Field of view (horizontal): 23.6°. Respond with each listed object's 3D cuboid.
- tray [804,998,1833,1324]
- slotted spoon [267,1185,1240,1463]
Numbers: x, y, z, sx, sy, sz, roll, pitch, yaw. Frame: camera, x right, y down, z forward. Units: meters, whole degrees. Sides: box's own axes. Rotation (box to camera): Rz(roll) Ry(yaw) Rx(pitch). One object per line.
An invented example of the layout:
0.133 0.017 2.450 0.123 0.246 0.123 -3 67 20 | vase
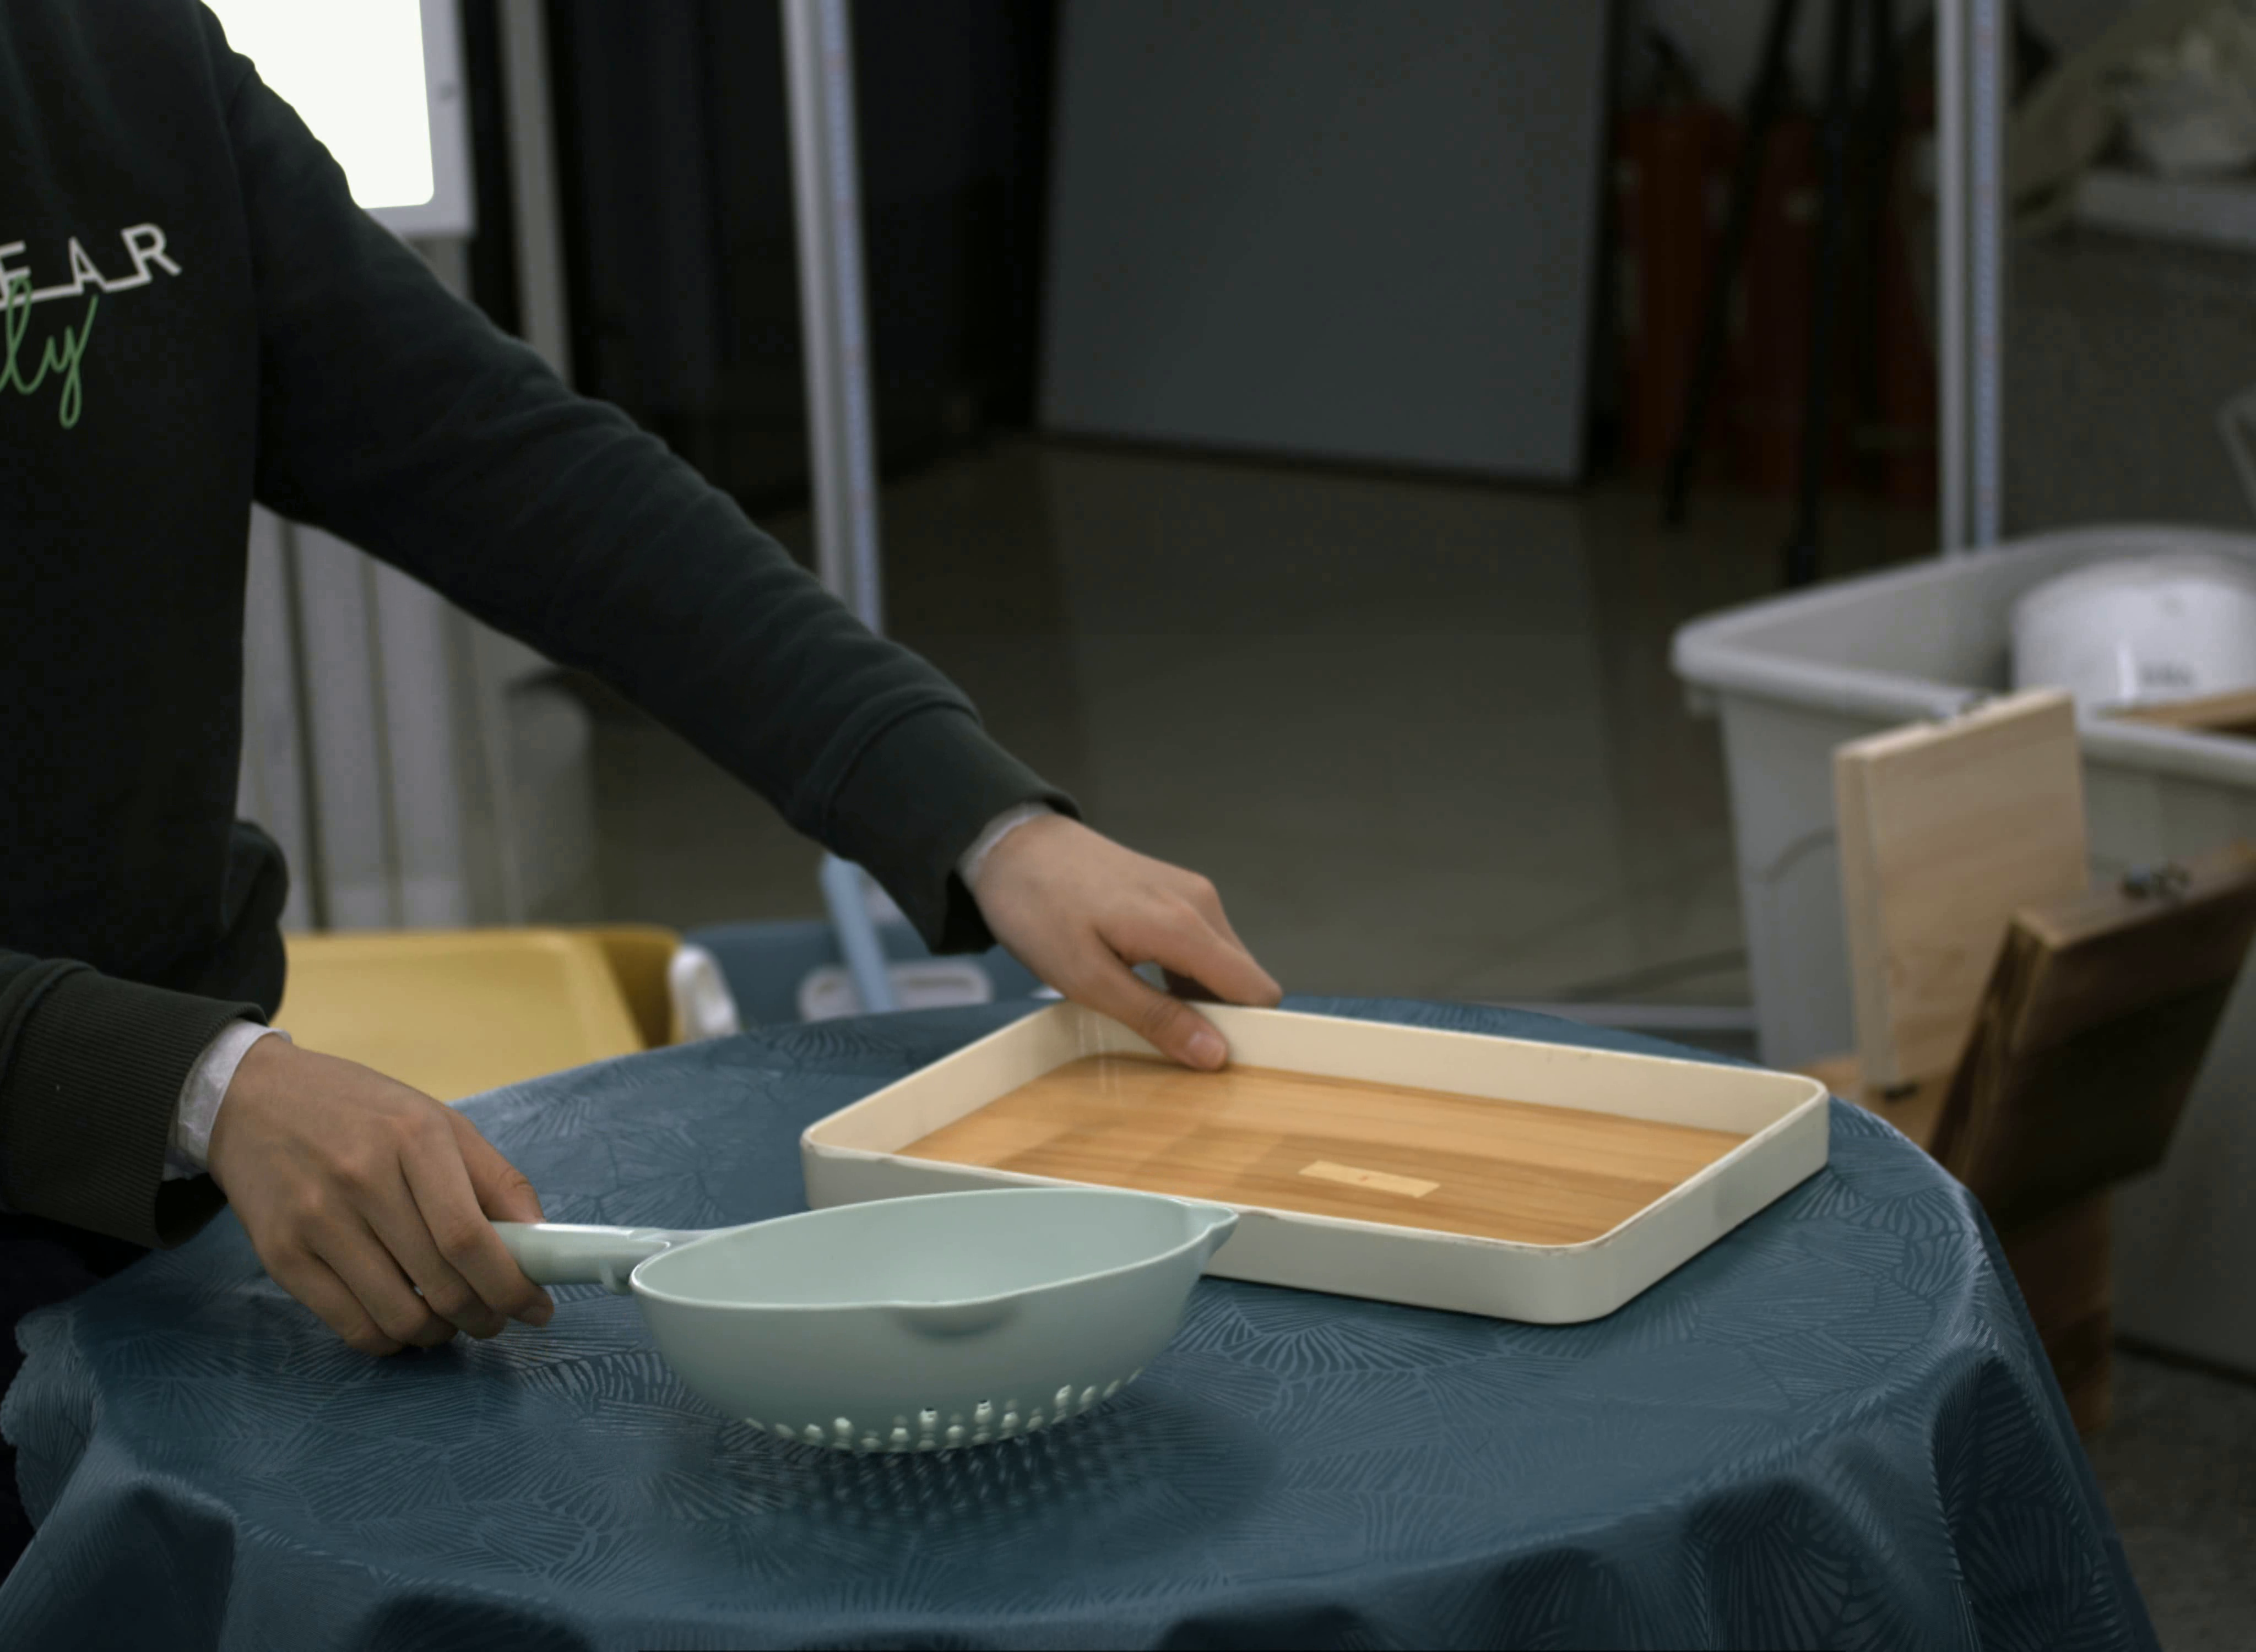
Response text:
0.062 0.106 1.760 0.302 0.028 0.188 6 17 33 | tray
-0.133 0.135 1.612 0.361 0.076 0.166 9 13 38 | slotted spoon
